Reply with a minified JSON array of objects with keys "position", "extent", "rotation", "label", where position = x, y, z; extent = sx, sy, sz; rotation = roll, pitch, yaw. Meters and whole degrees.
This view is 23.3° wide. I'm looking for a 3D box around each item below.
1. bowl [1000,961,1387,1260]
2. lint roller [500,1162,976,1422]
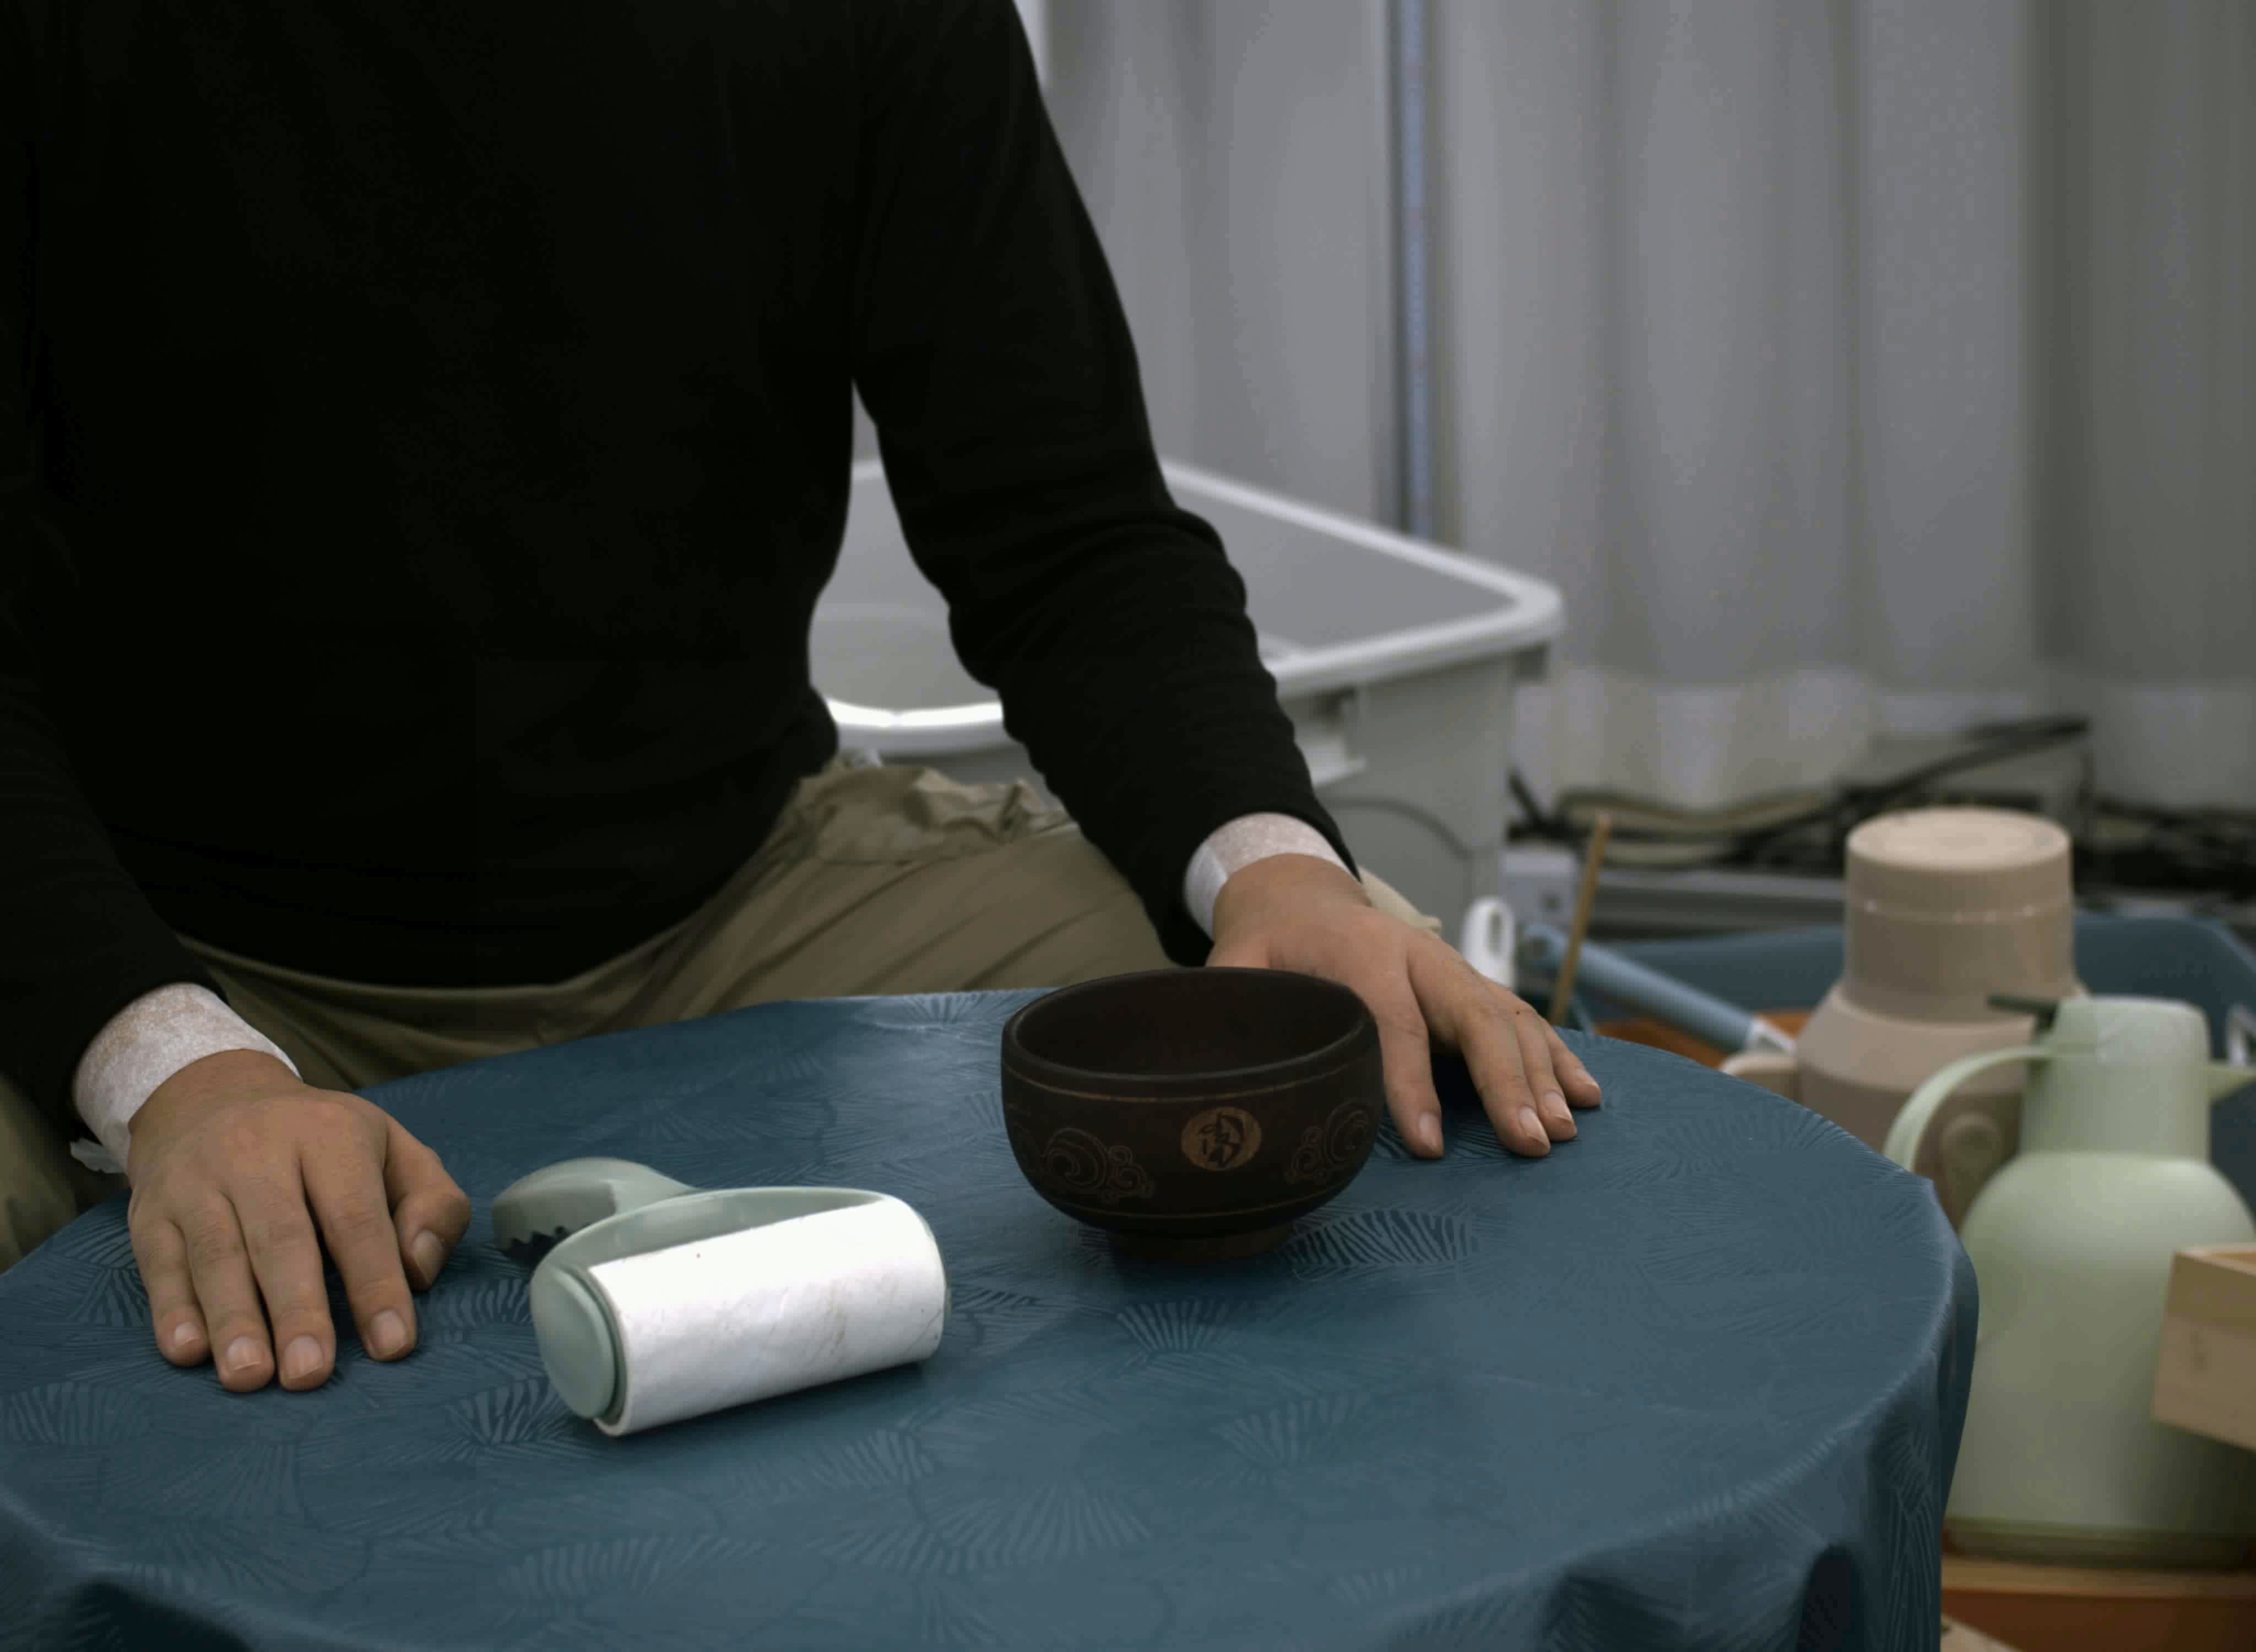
[{"position":[0.021,0.090,1.663],"extent":[0.117,0.069,0.119],"rotation":[-4,14,1],"label":"bowl"},{"position":[-0.136,0.124,1.618],"extent":[0.116,0.048,0.199],"rotation":[-12,15,-28],"label":"lint roller"}]
